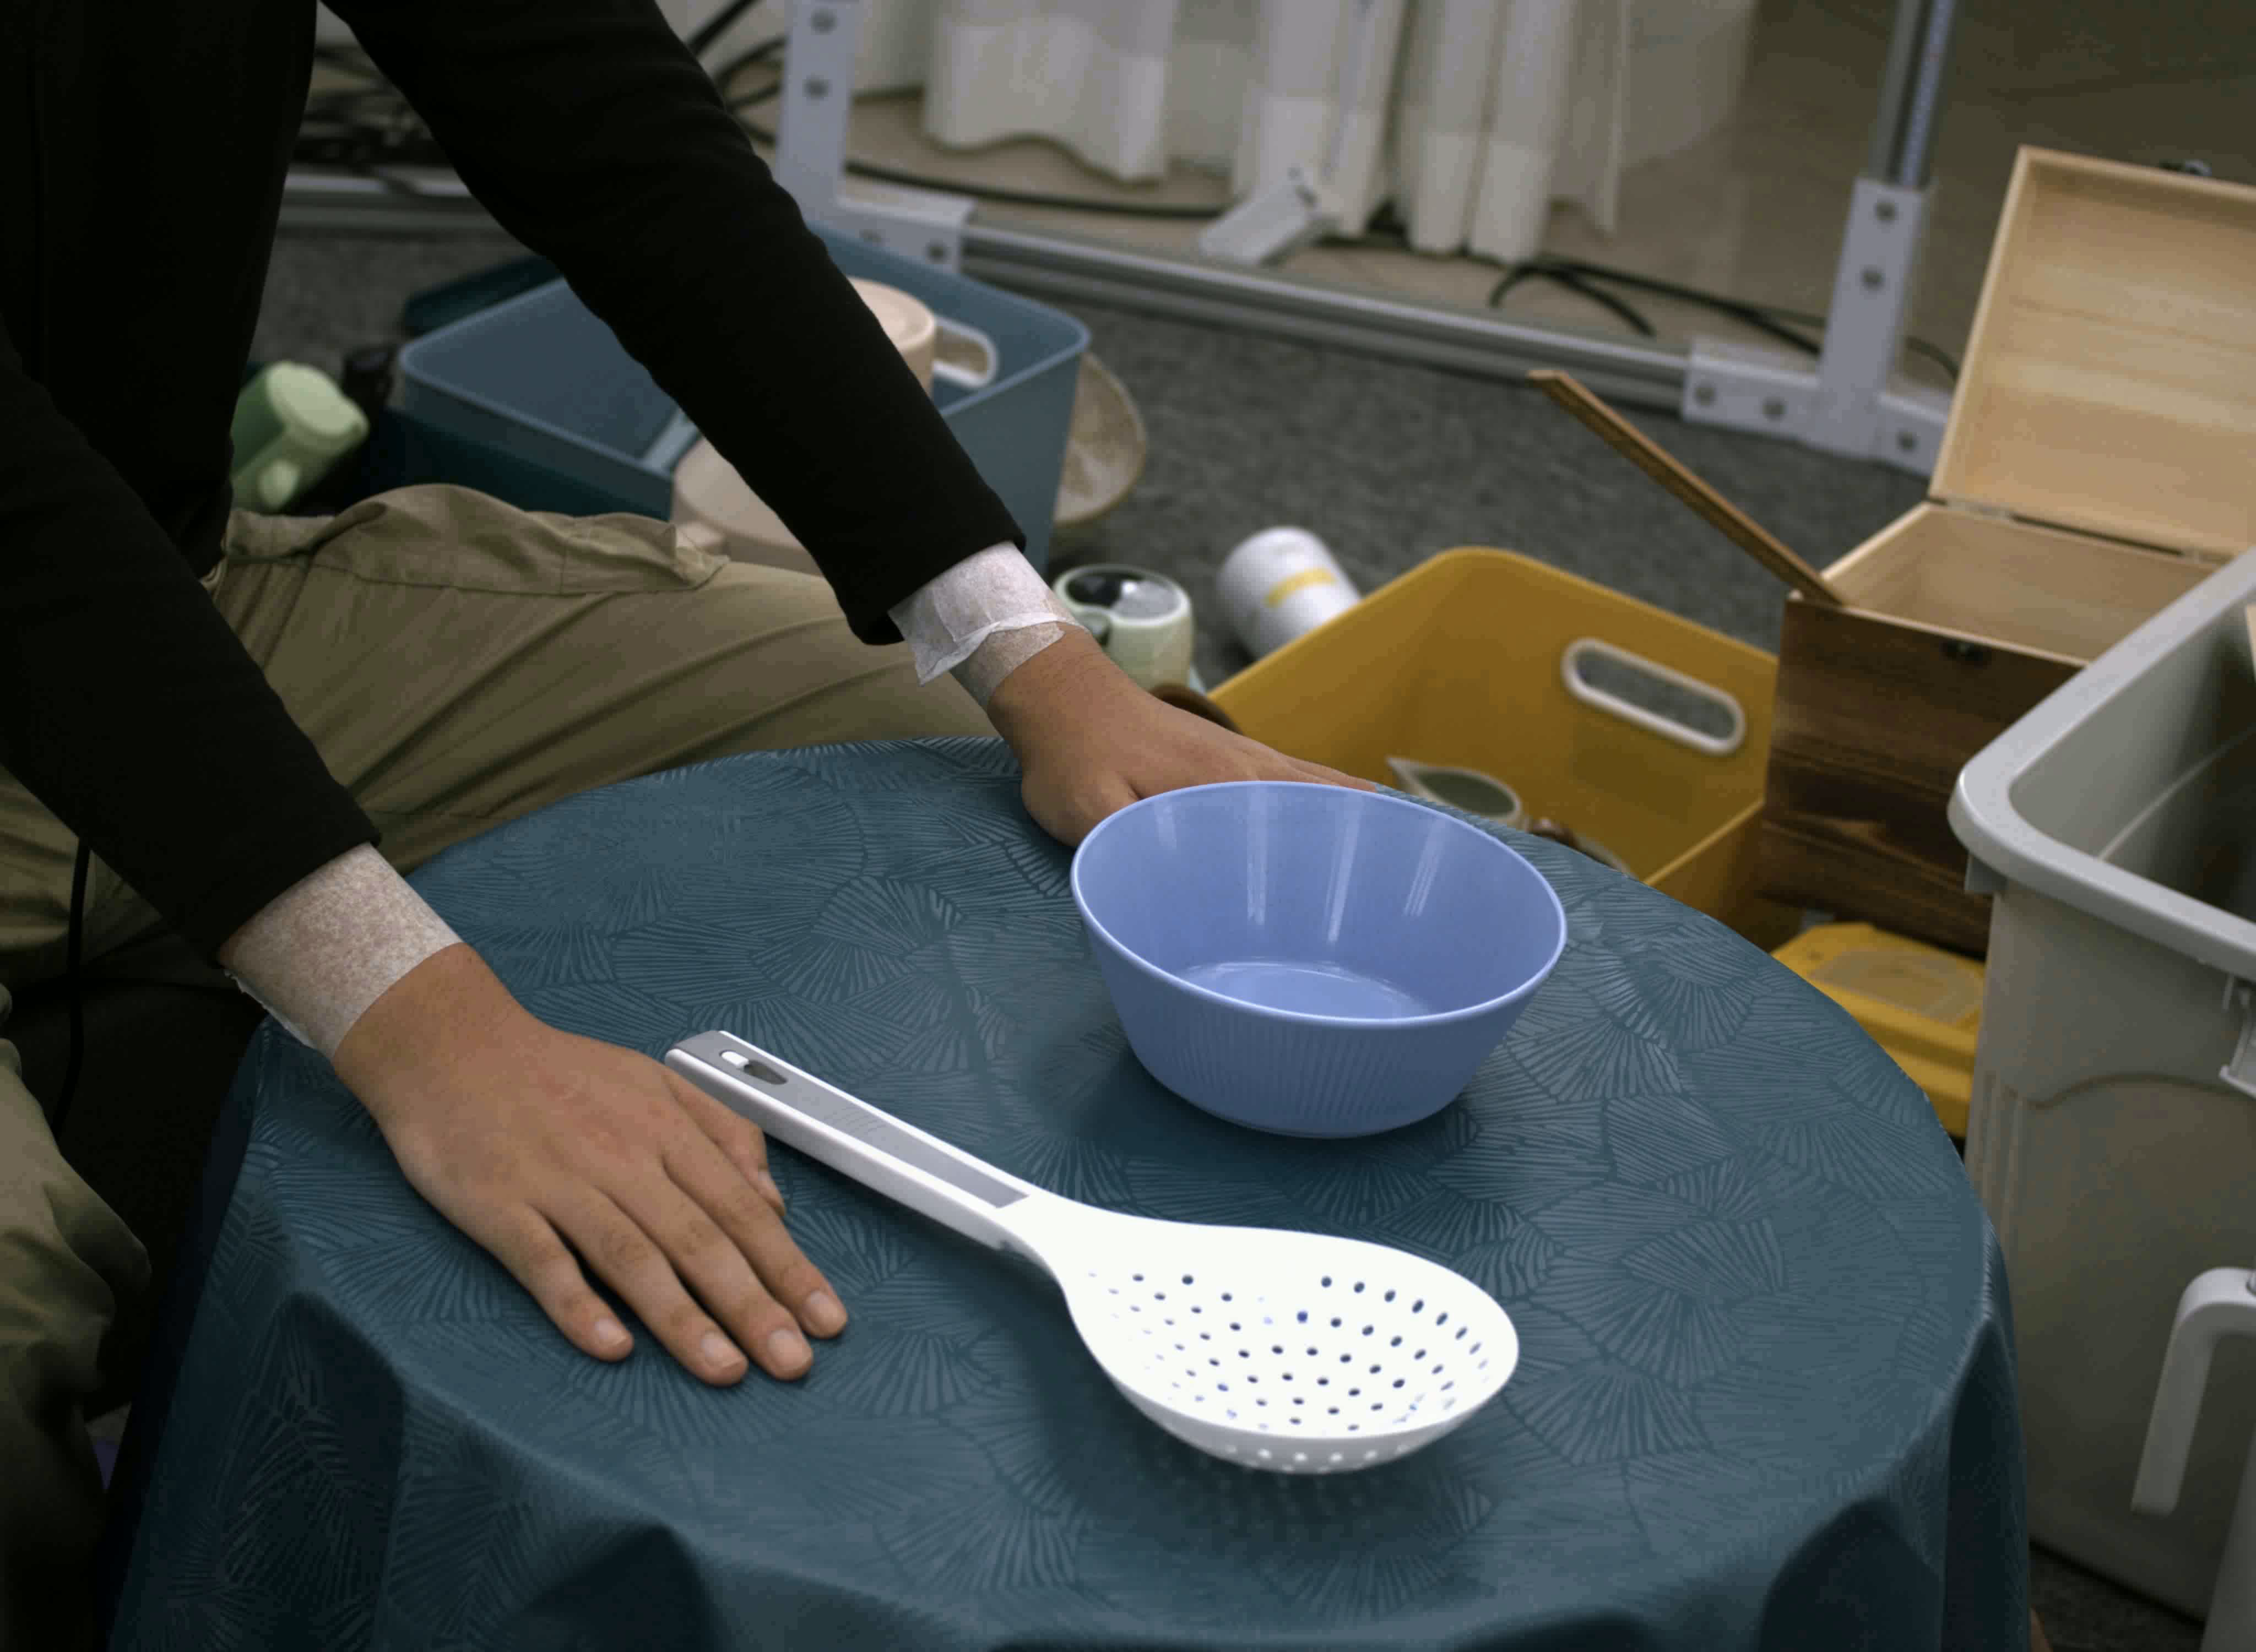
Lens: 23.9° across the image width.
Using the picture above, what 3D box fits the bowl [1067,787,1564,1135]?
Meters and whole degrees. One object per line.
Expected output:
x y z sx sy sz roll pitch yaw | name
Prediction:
0.063 0.053 1.878 0.175 0.070 0.177 4 26 -2 | bowl

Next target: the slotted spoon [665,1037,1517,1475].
-0.026 0.133 1.728 0.352 0.045 0.135 27 33 36 | slotted spoon
